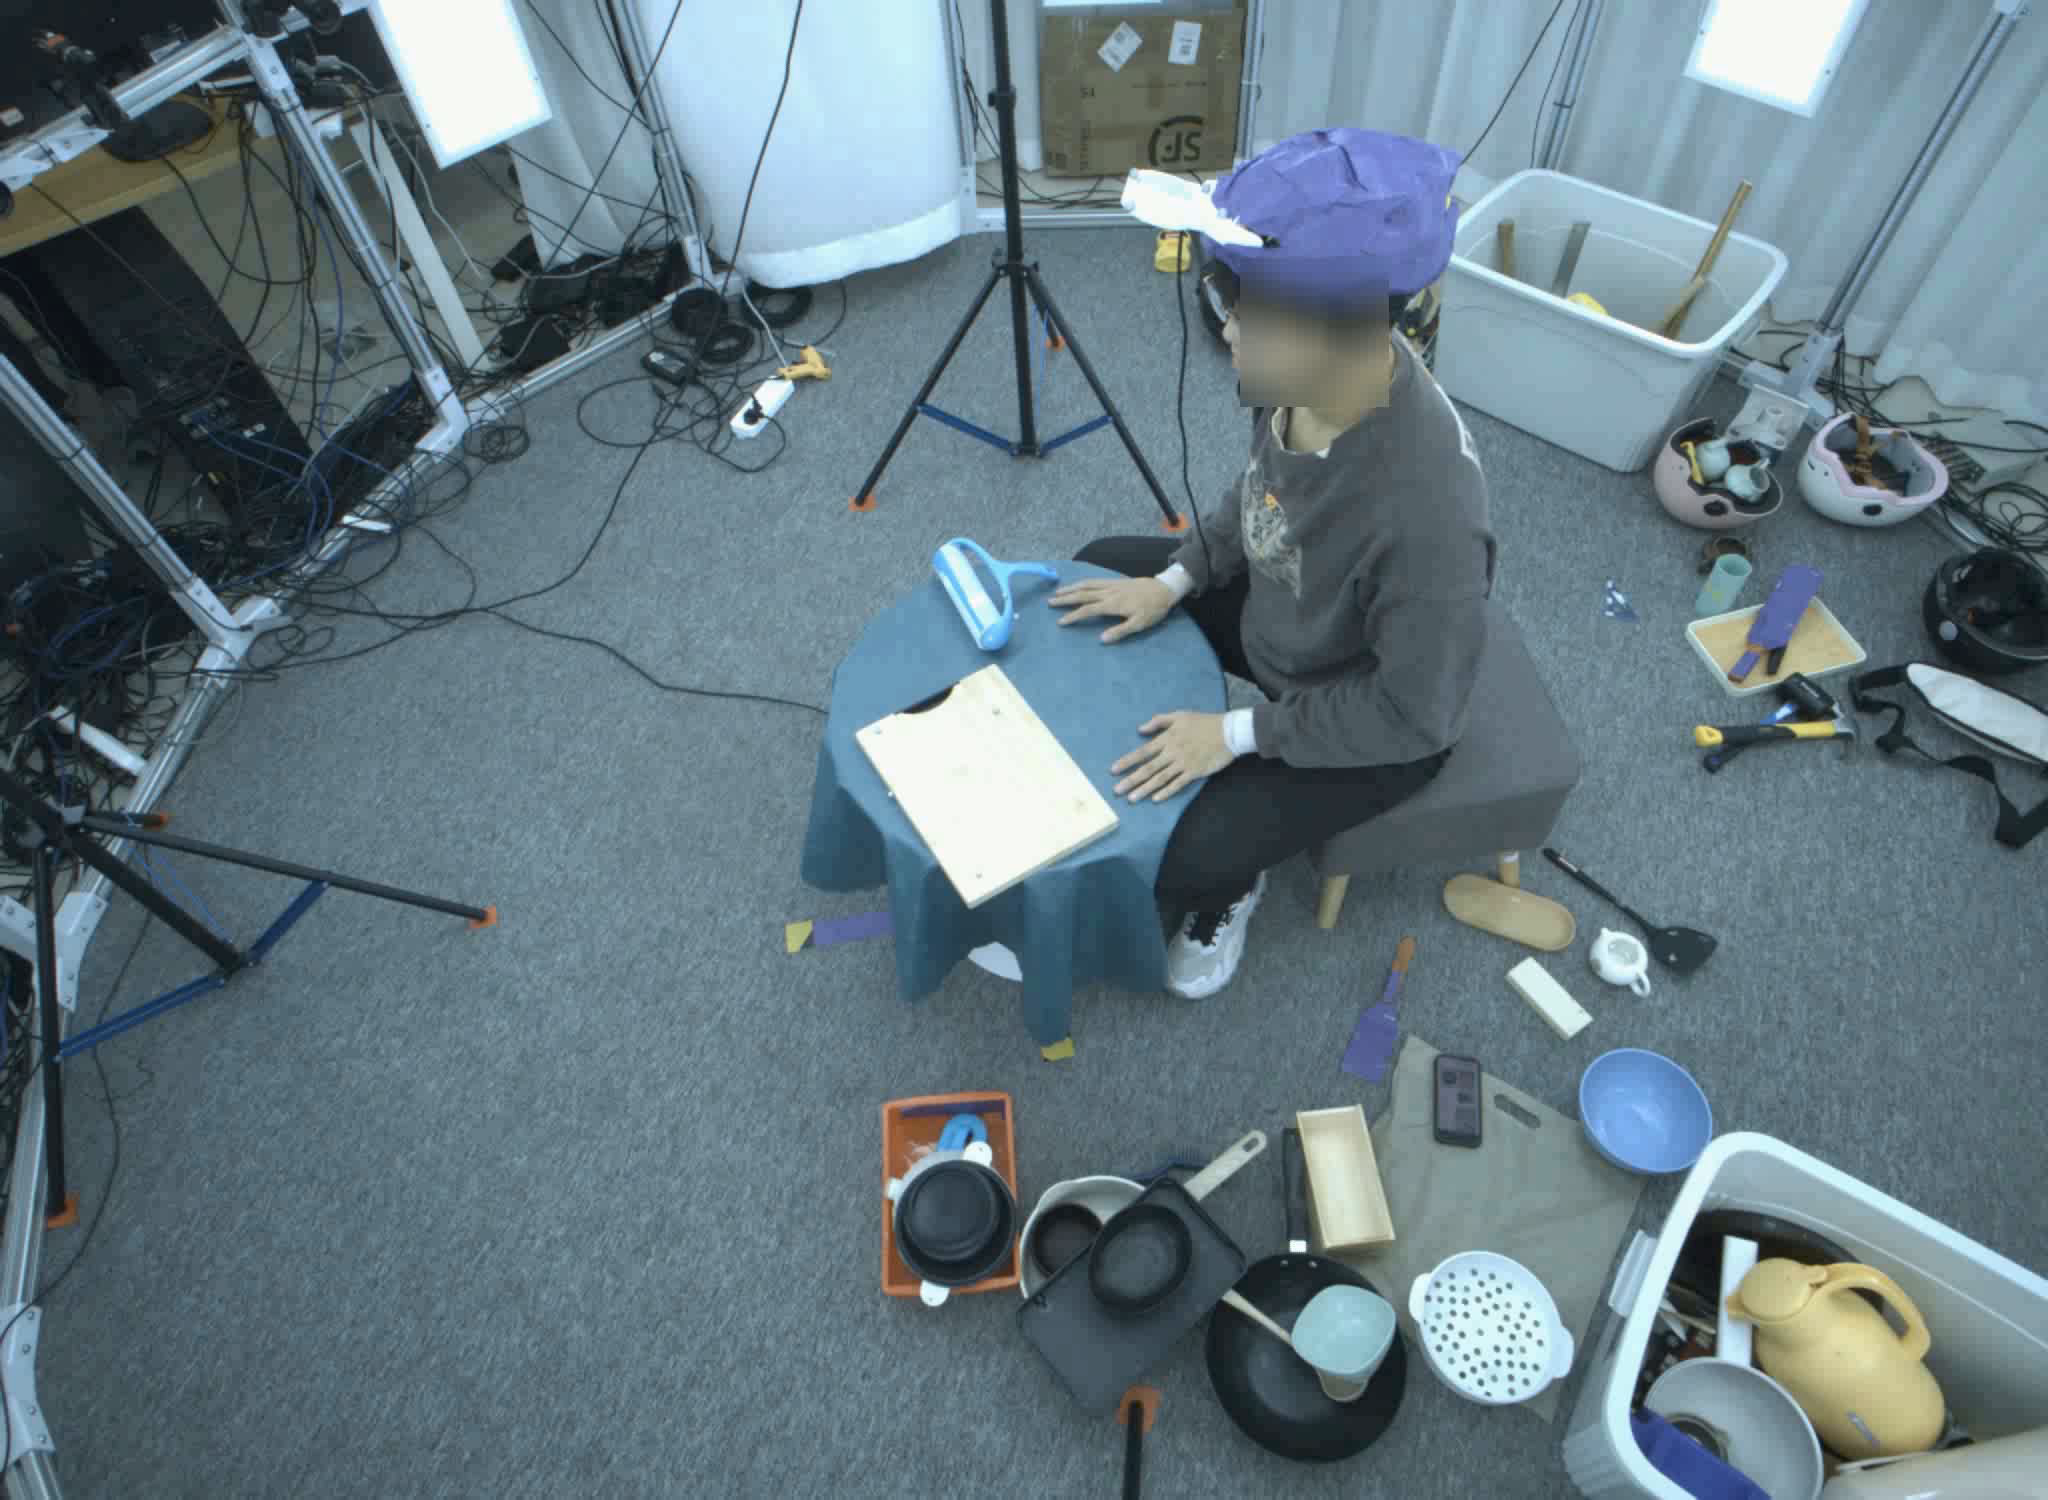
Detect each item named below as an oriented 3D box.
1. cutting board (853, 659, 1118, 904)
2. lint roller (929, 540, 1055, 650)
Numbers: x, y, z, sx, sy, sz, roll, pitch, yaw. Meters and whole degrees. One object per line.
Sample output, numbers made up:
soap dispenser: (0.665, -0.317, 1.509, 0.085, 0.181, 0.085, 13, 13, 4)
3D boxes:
cutting board: (-0.061, 0.036, 1.751, 0.253, 0.024, 0.342, -28, 58, -18)
lint roller: (-0.036, -0.265, 1.942, 0.181, 0.069, 0.224, -25, 55, -14)
